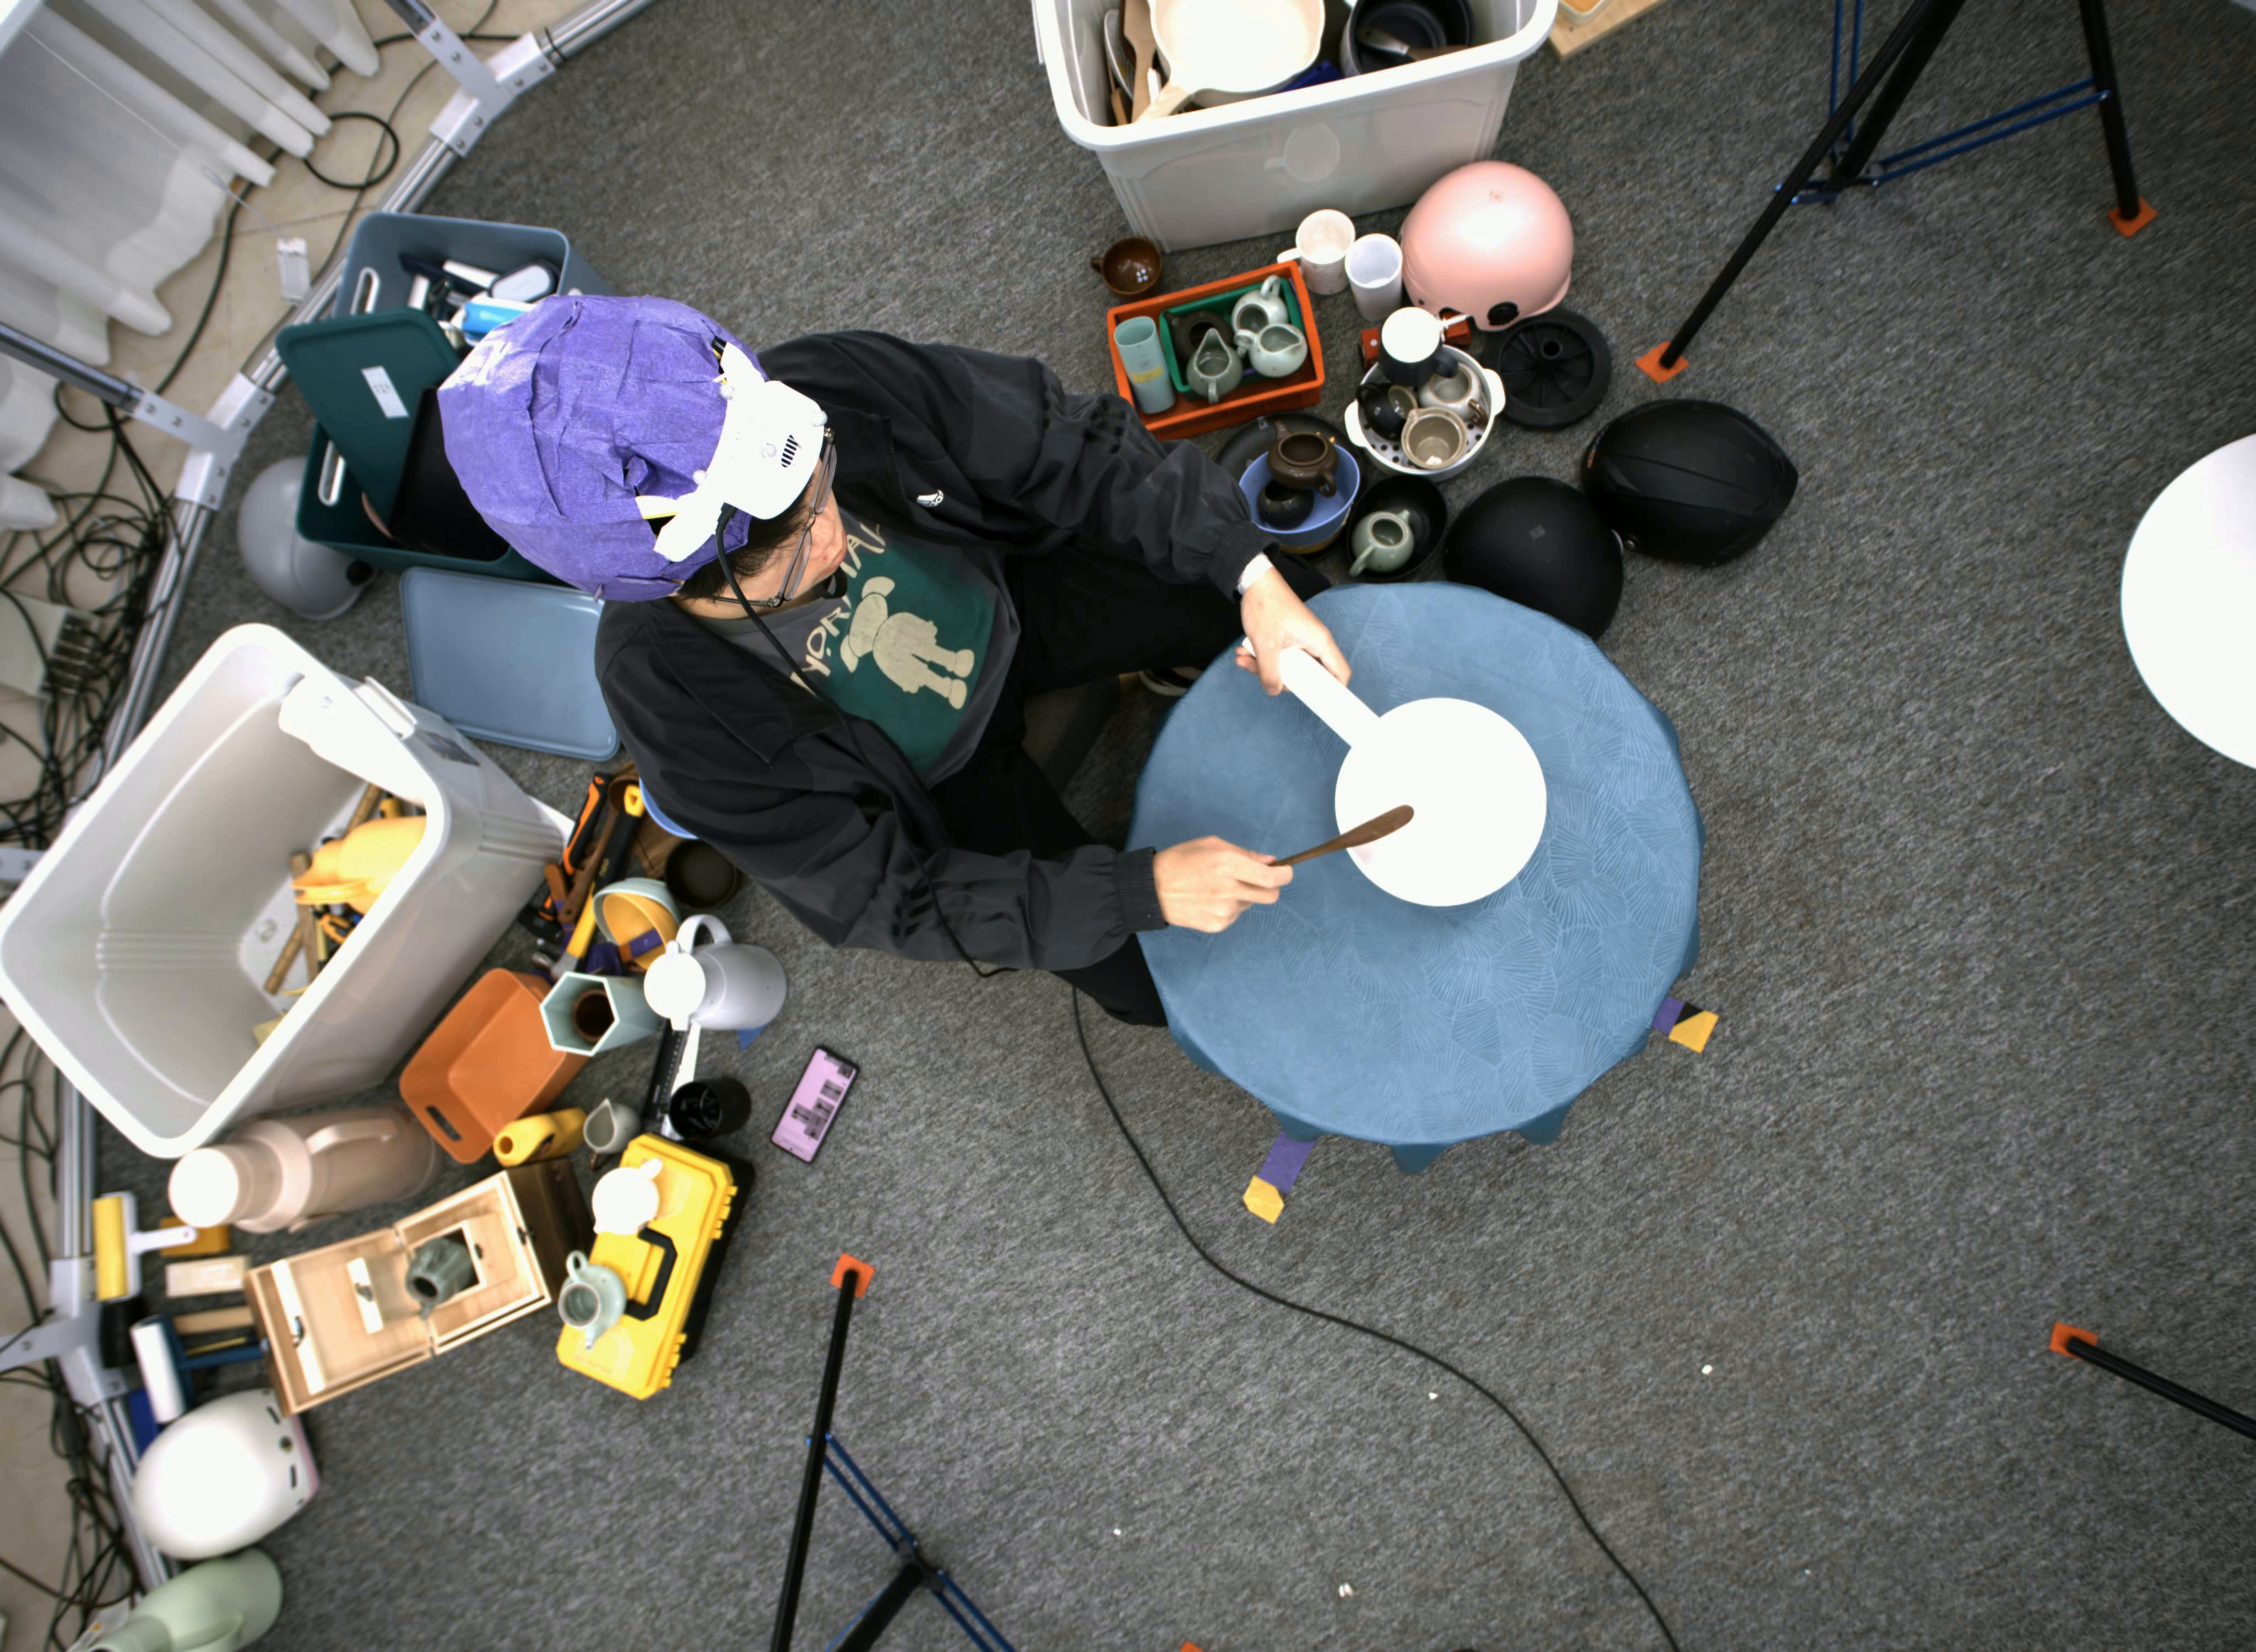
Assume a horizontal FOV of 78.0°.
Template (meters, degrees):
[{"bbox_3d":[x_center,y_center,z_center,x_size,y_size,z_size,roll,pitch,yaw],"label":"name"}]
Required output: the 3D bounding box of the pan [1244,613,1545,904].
[{"bbox_3d":[0.262,-0.080,1.391,0.353,0.101,0.204,45,107,11],"label":"pan"}]

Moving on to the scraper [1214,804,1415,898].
[{"bbox_3d":[0.180,0.026,1.342,0.213,0.075,0.011,-23,97,10],"label":"scraper"}]
